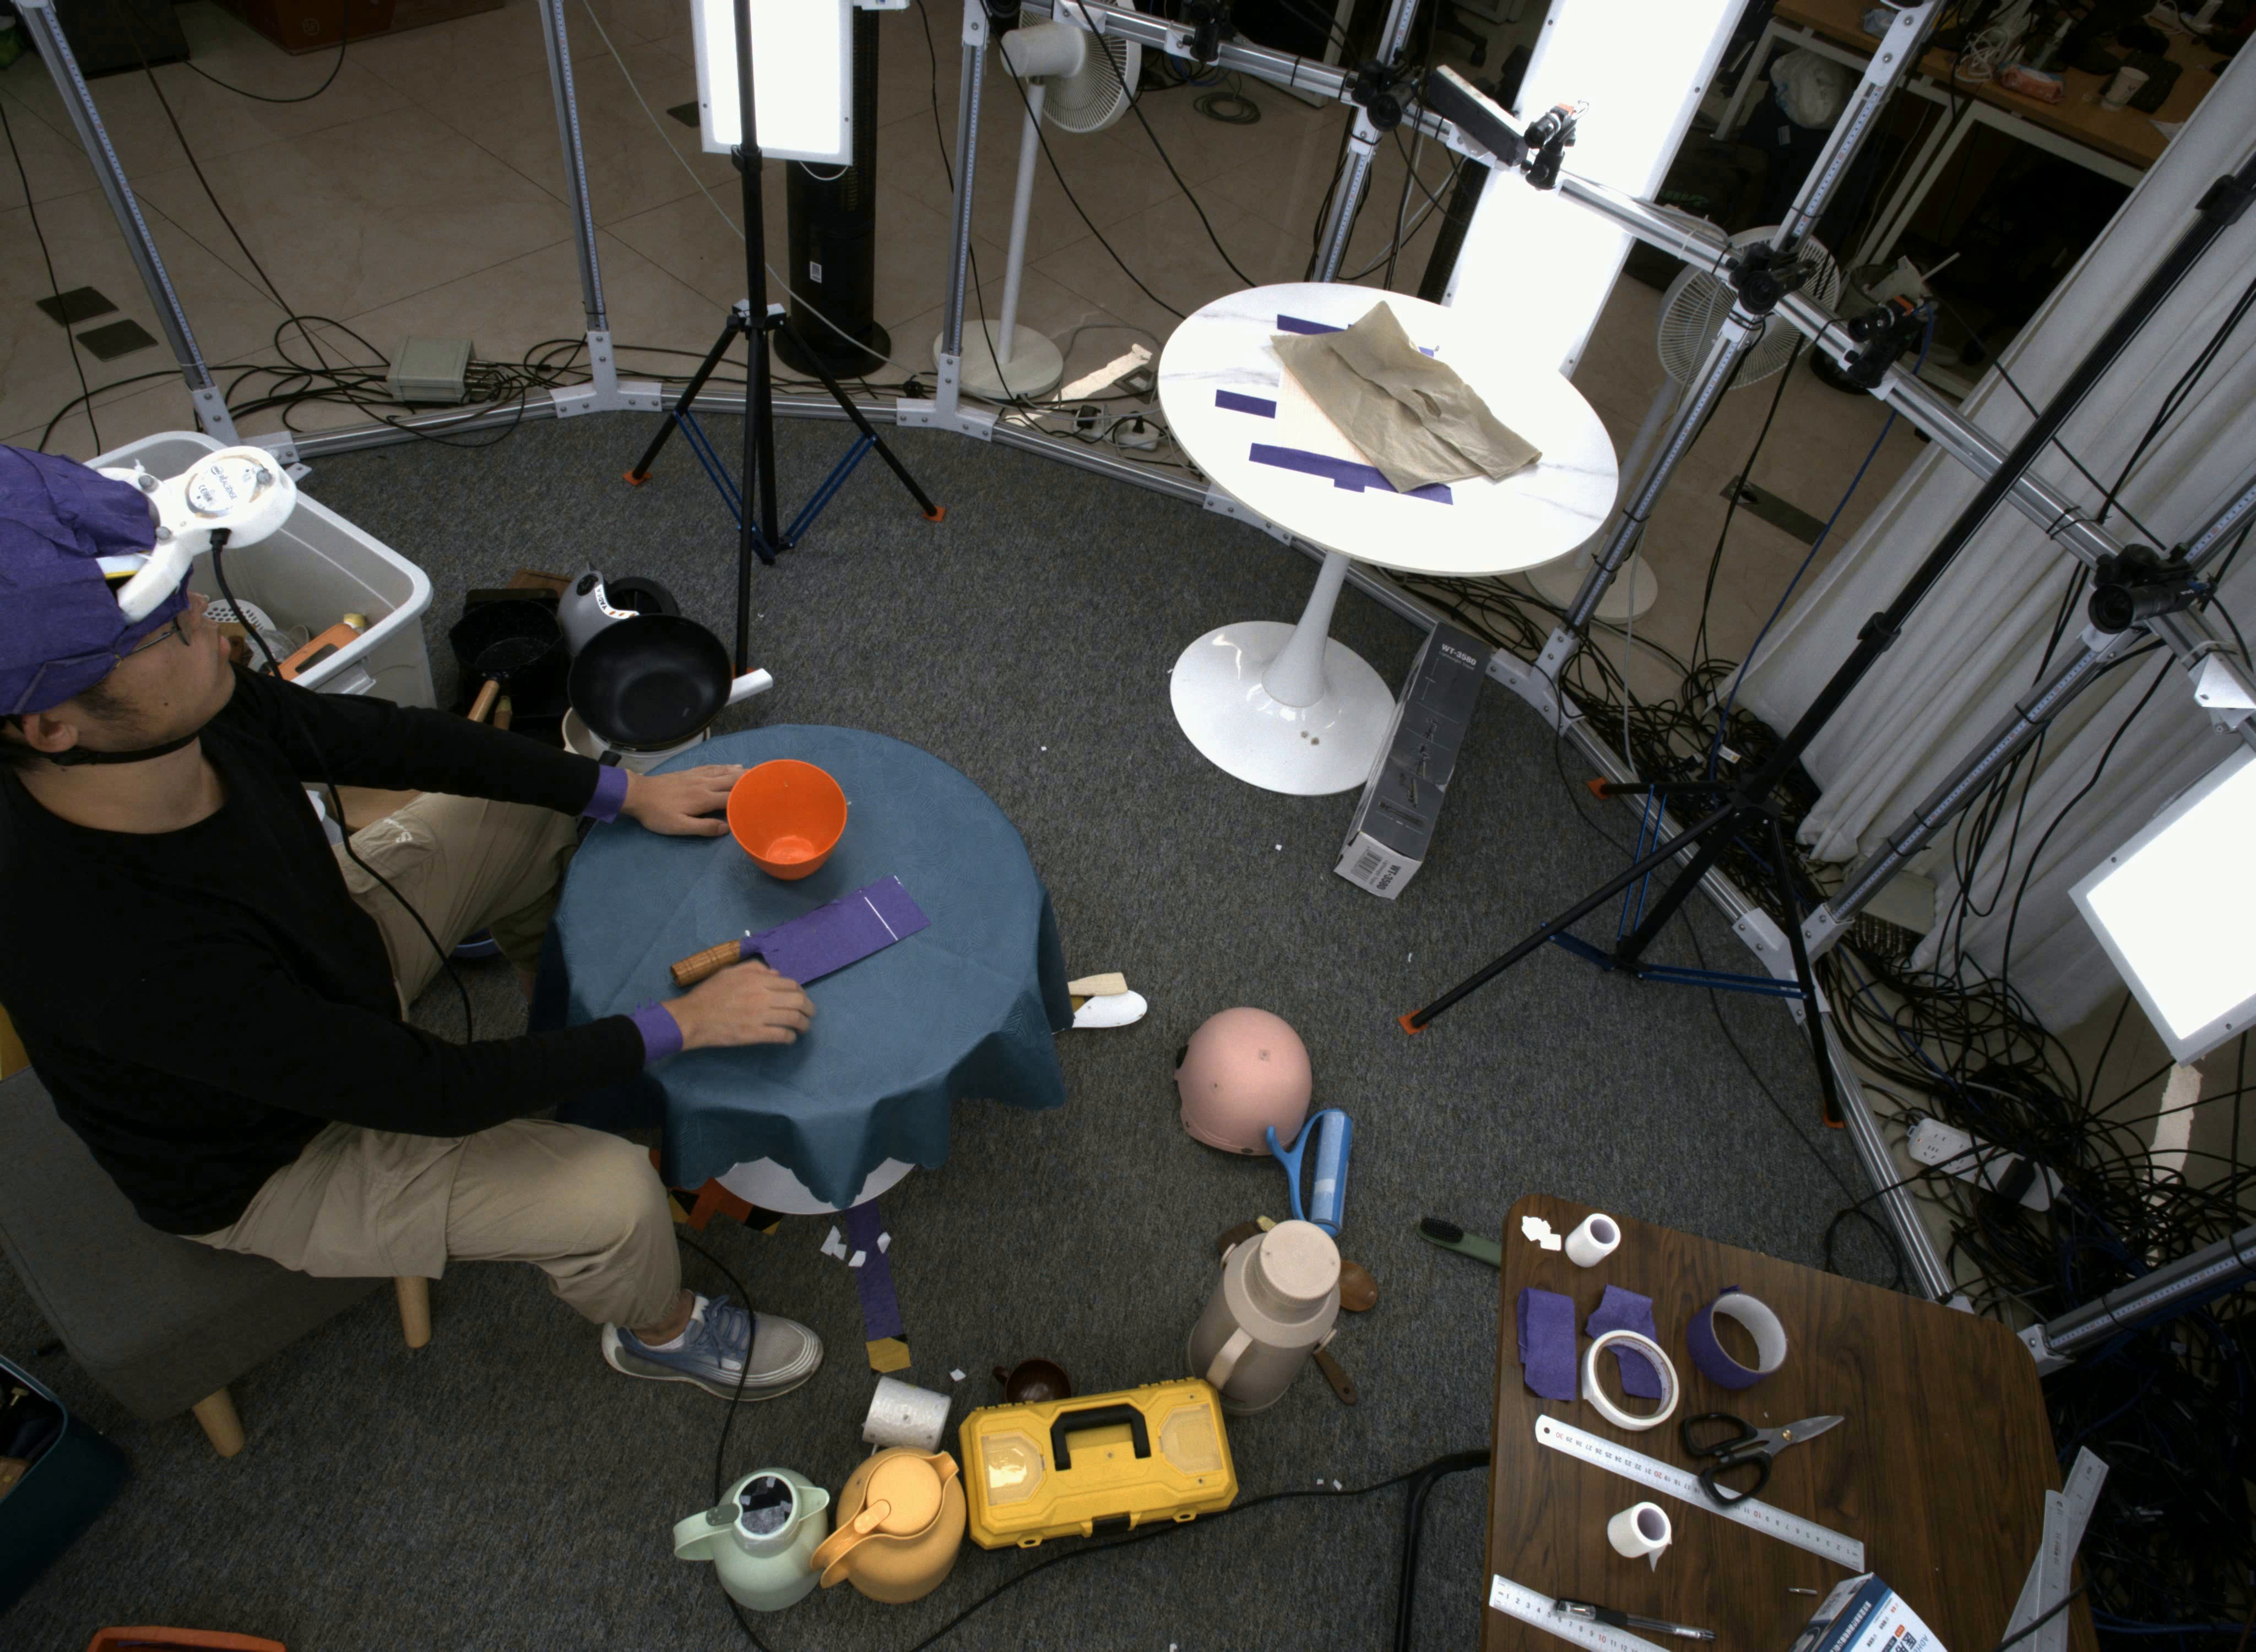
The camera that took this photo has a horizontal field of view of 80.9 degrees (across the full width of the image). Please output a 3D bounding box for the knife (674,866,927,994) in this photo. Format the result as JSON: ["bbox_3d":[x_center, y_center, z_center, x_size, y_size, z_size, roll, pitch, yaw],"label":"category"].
[{"bbox_3d":[-0.398,0.144,1.603,0.316,0.033,0.101,-27,64,-31],"label":"knife"}]

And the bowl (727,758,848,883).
[{"bbox_3d":[-0.432,0.004,1.651,0.148,0.106,0.145,8,52,-9],"label":"bowl"}]
